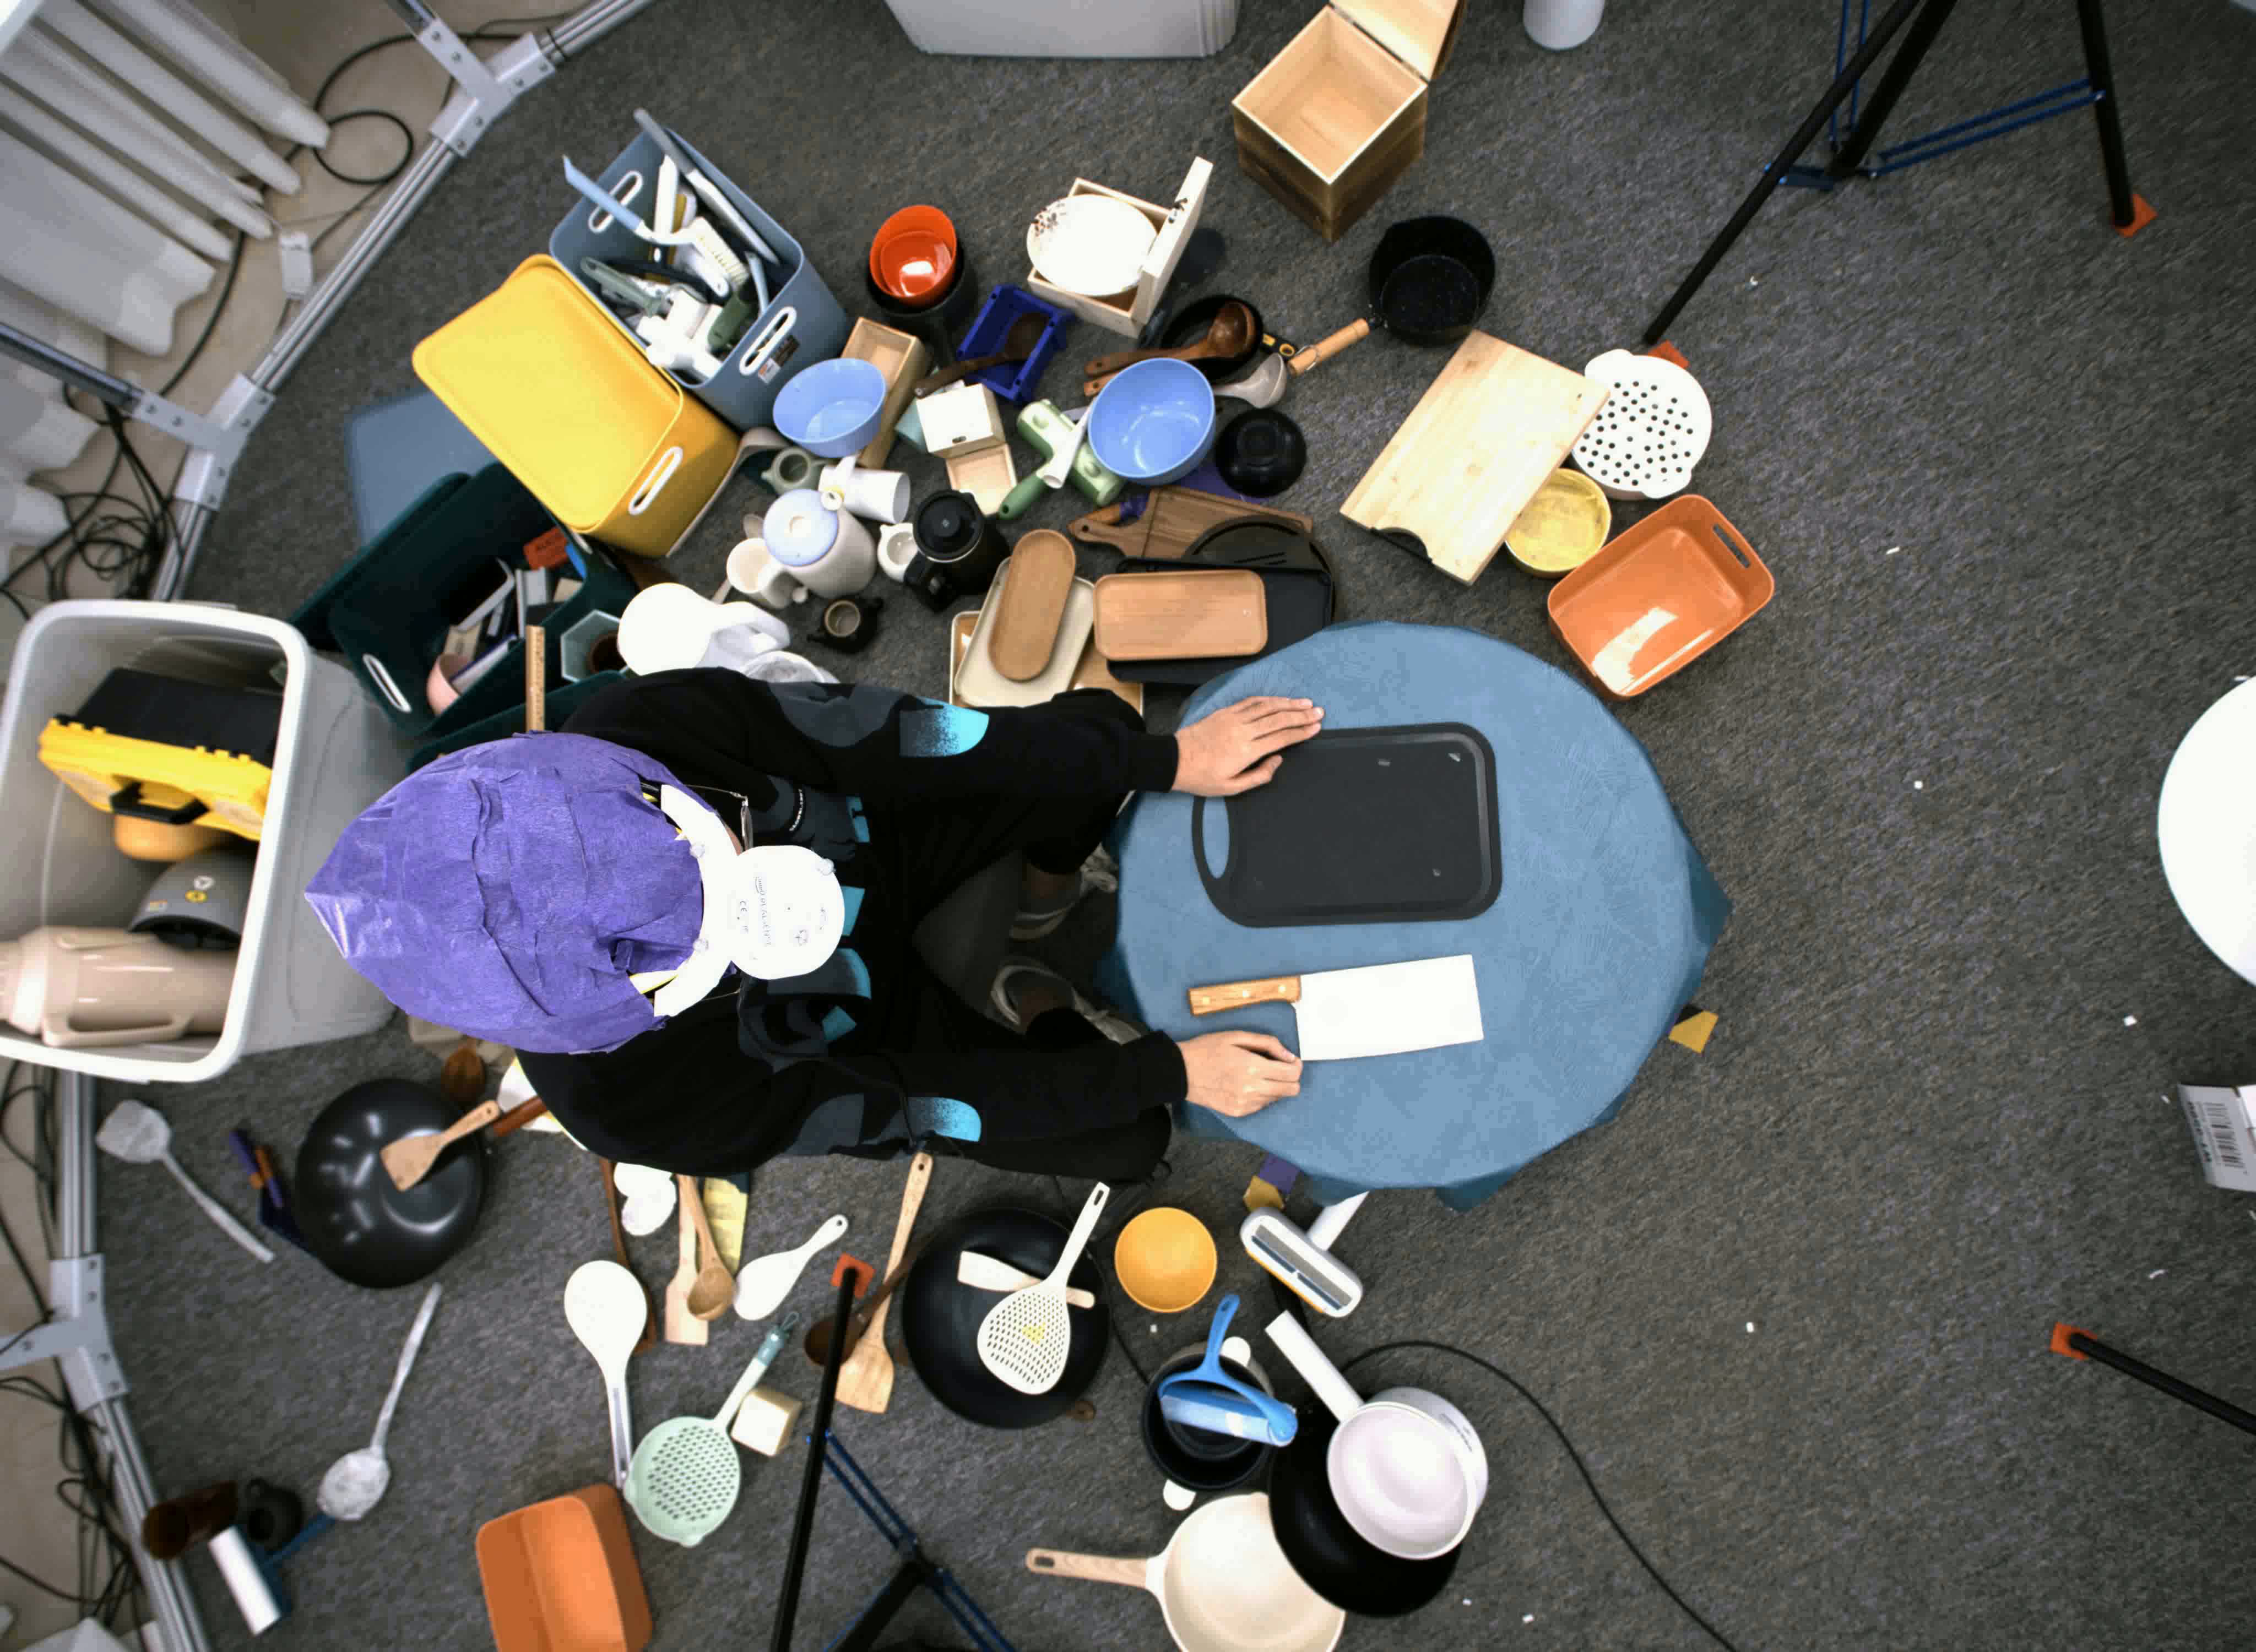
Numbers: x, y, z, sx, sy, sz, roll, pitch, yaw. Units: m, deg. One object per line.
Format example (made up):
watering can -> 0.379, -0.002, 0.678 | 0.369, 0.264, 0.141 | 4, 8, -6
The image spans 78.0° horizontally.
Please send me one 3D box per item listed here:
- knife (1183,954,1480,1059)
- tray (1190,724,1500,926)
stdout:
knife -> 0.214, 0.195, 1.456 | 0.307, 0.021, 0.092 | -8, 87, 8
tray -> 0.228, -0.001, 1.468 | 0.327, 0.010, 0.210 | -2, 86, 10
